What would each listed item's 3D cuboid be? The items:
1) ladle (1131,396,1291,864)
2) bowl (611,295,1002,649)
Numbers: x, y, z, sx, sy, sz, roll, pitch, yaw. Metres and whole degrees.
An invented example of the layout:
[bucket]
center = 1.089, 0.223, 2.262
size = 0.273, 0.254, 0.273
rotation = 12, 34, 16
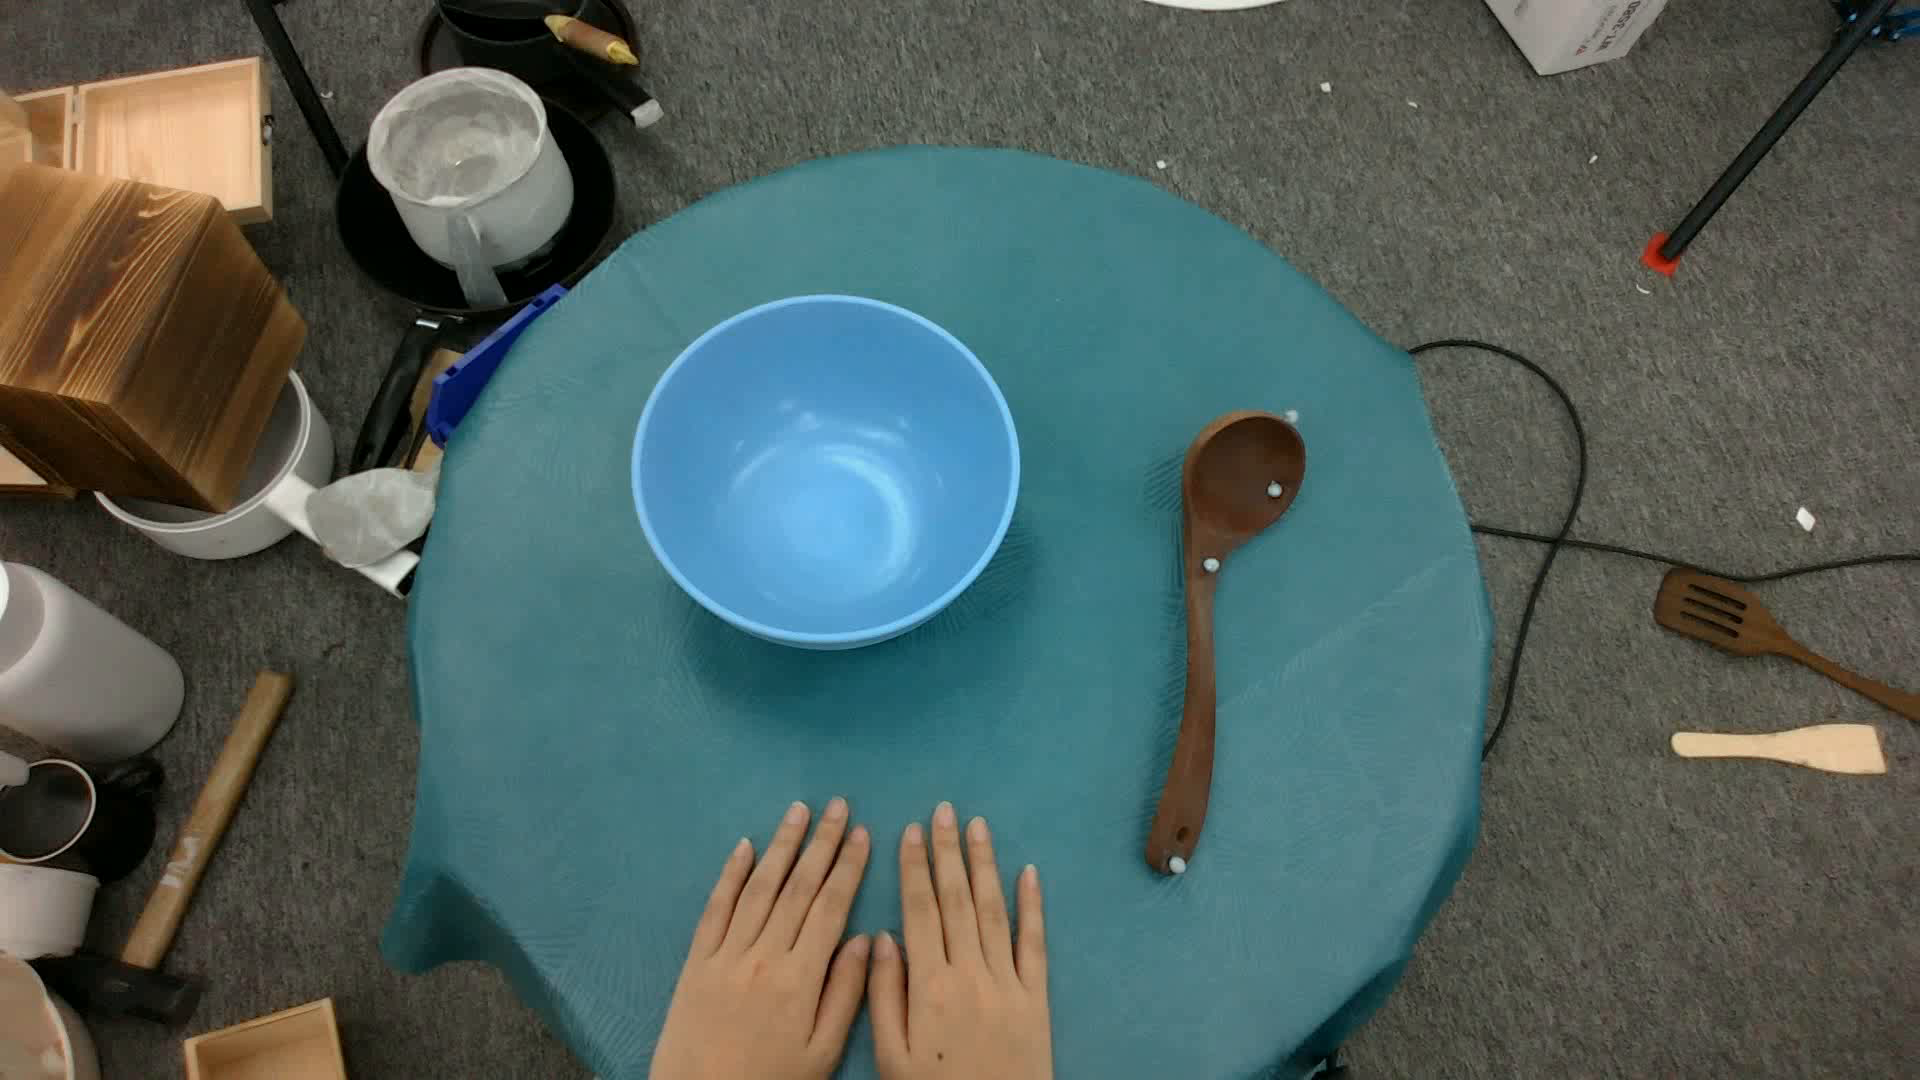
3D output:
[ladle]
center = 0.133, 0.043, 0.741
size = 0.076, 0.065, 0.261
rotation = 23, 64, -25
[bowl]
center = -0.082, -0.023, 0.734
size = 0.196, 0.095, 0.197
rotation = 4, 64, -8
